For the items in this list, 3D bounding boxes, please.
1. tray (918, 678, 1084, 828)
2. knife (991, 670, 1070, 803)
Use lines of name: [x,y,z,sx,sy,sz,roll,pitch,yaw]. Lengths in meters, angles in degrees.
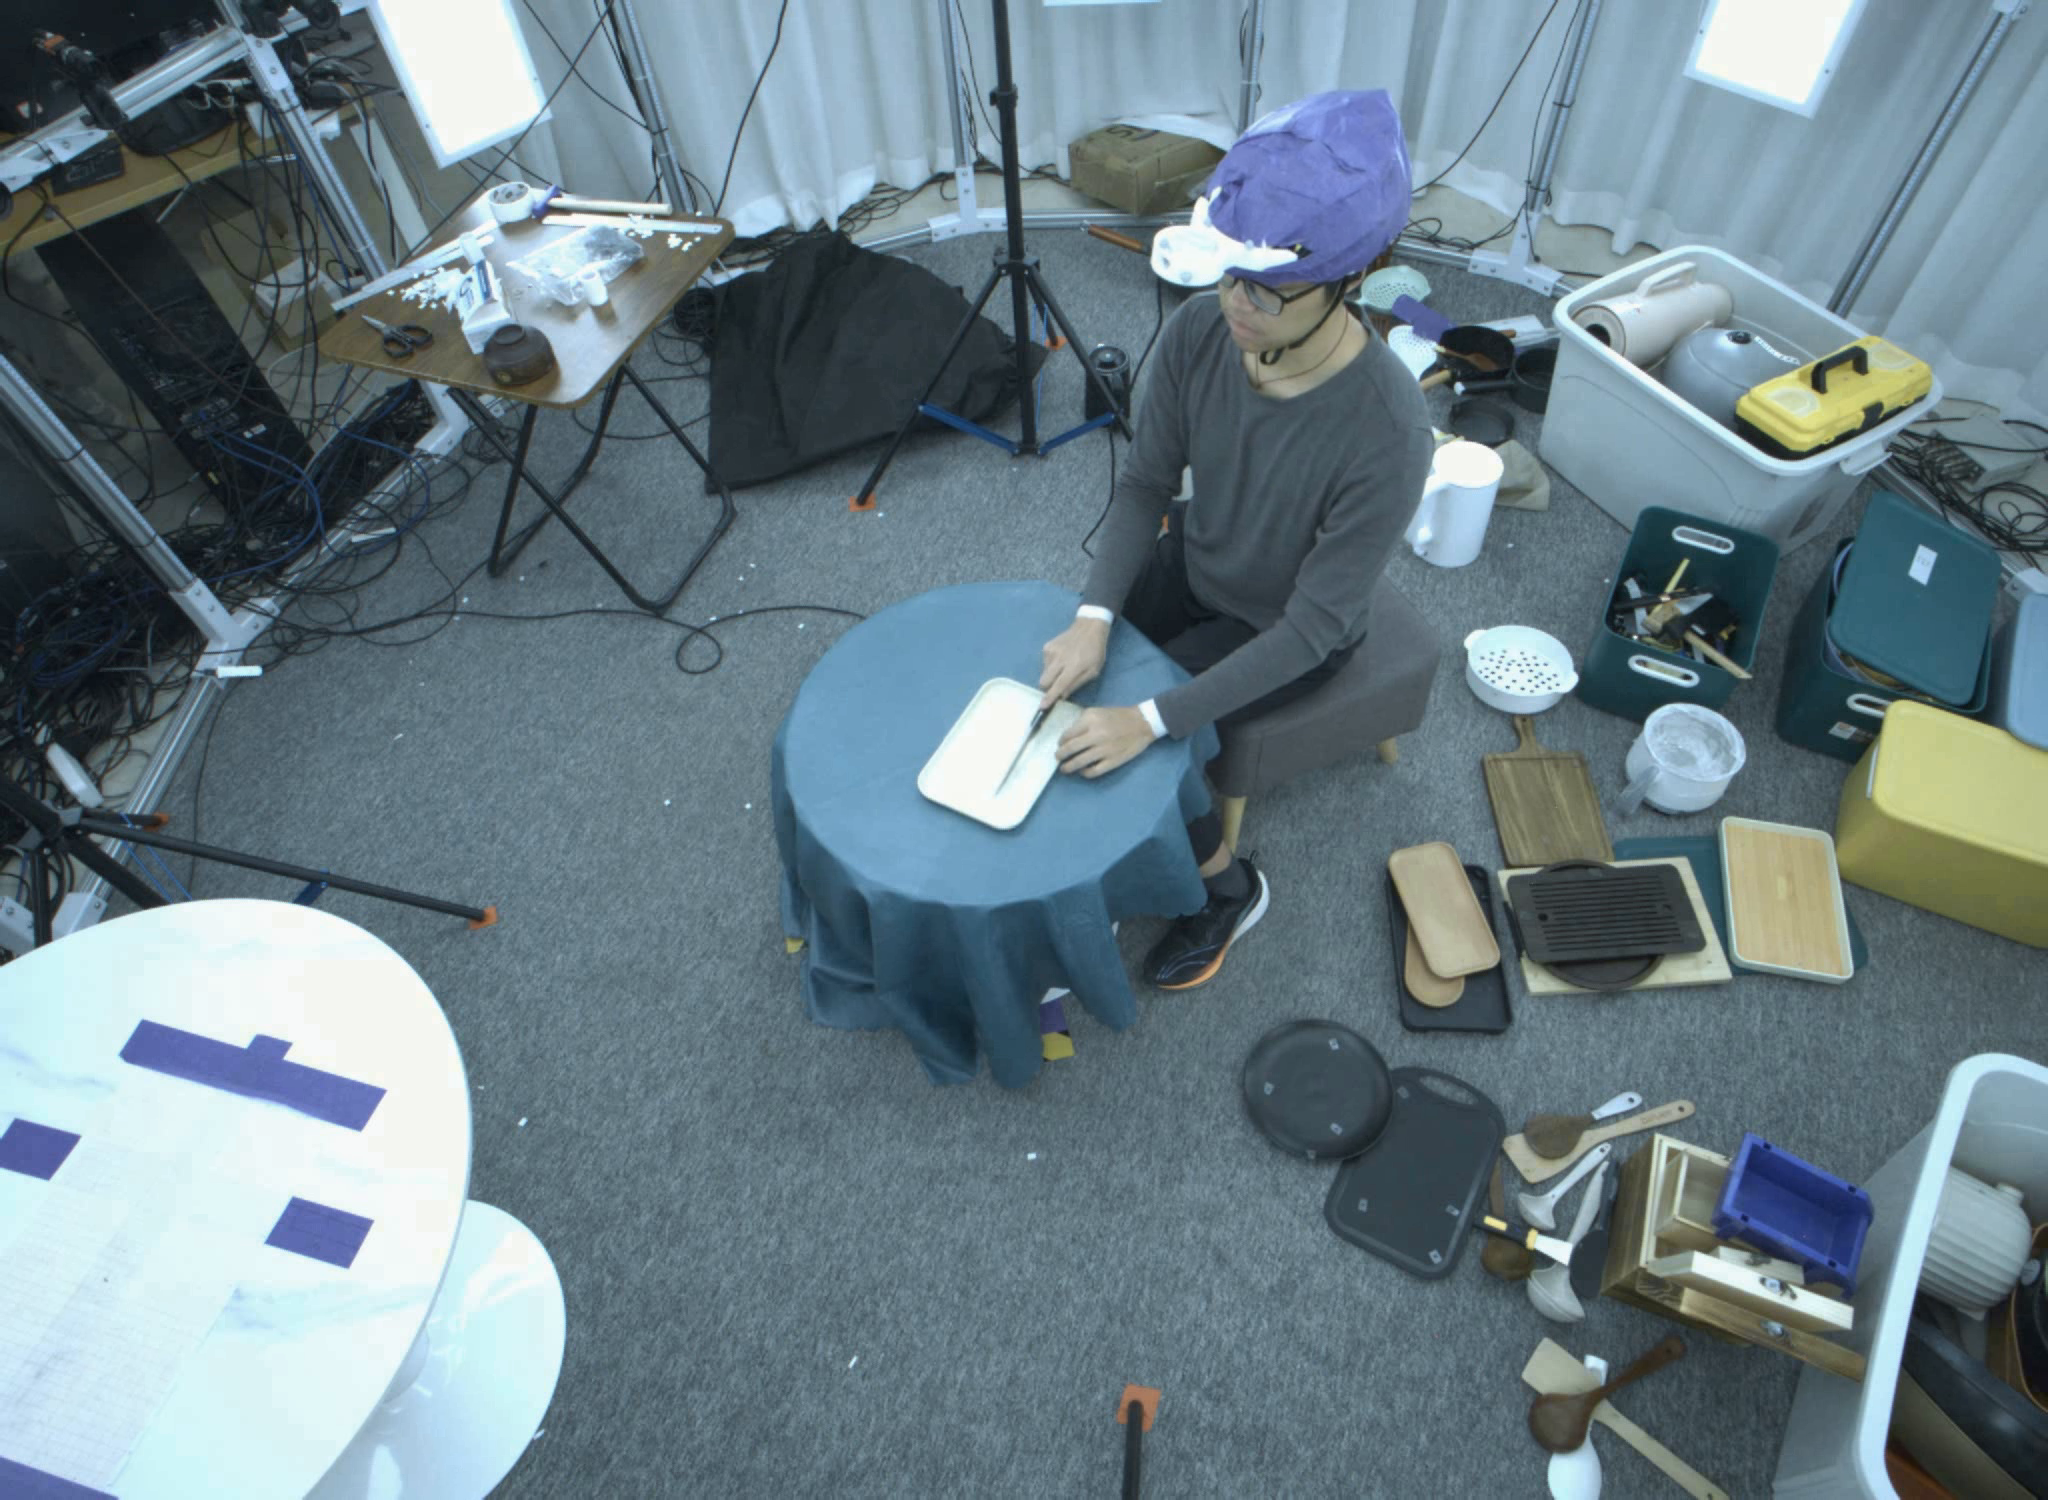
tray: [-0.031,0.002,1.783,0.169,0.017,0.240,23,58,18]
knife: [0.009,-0.023,1.780,0.016,0.025,0.238,24,68,15]
